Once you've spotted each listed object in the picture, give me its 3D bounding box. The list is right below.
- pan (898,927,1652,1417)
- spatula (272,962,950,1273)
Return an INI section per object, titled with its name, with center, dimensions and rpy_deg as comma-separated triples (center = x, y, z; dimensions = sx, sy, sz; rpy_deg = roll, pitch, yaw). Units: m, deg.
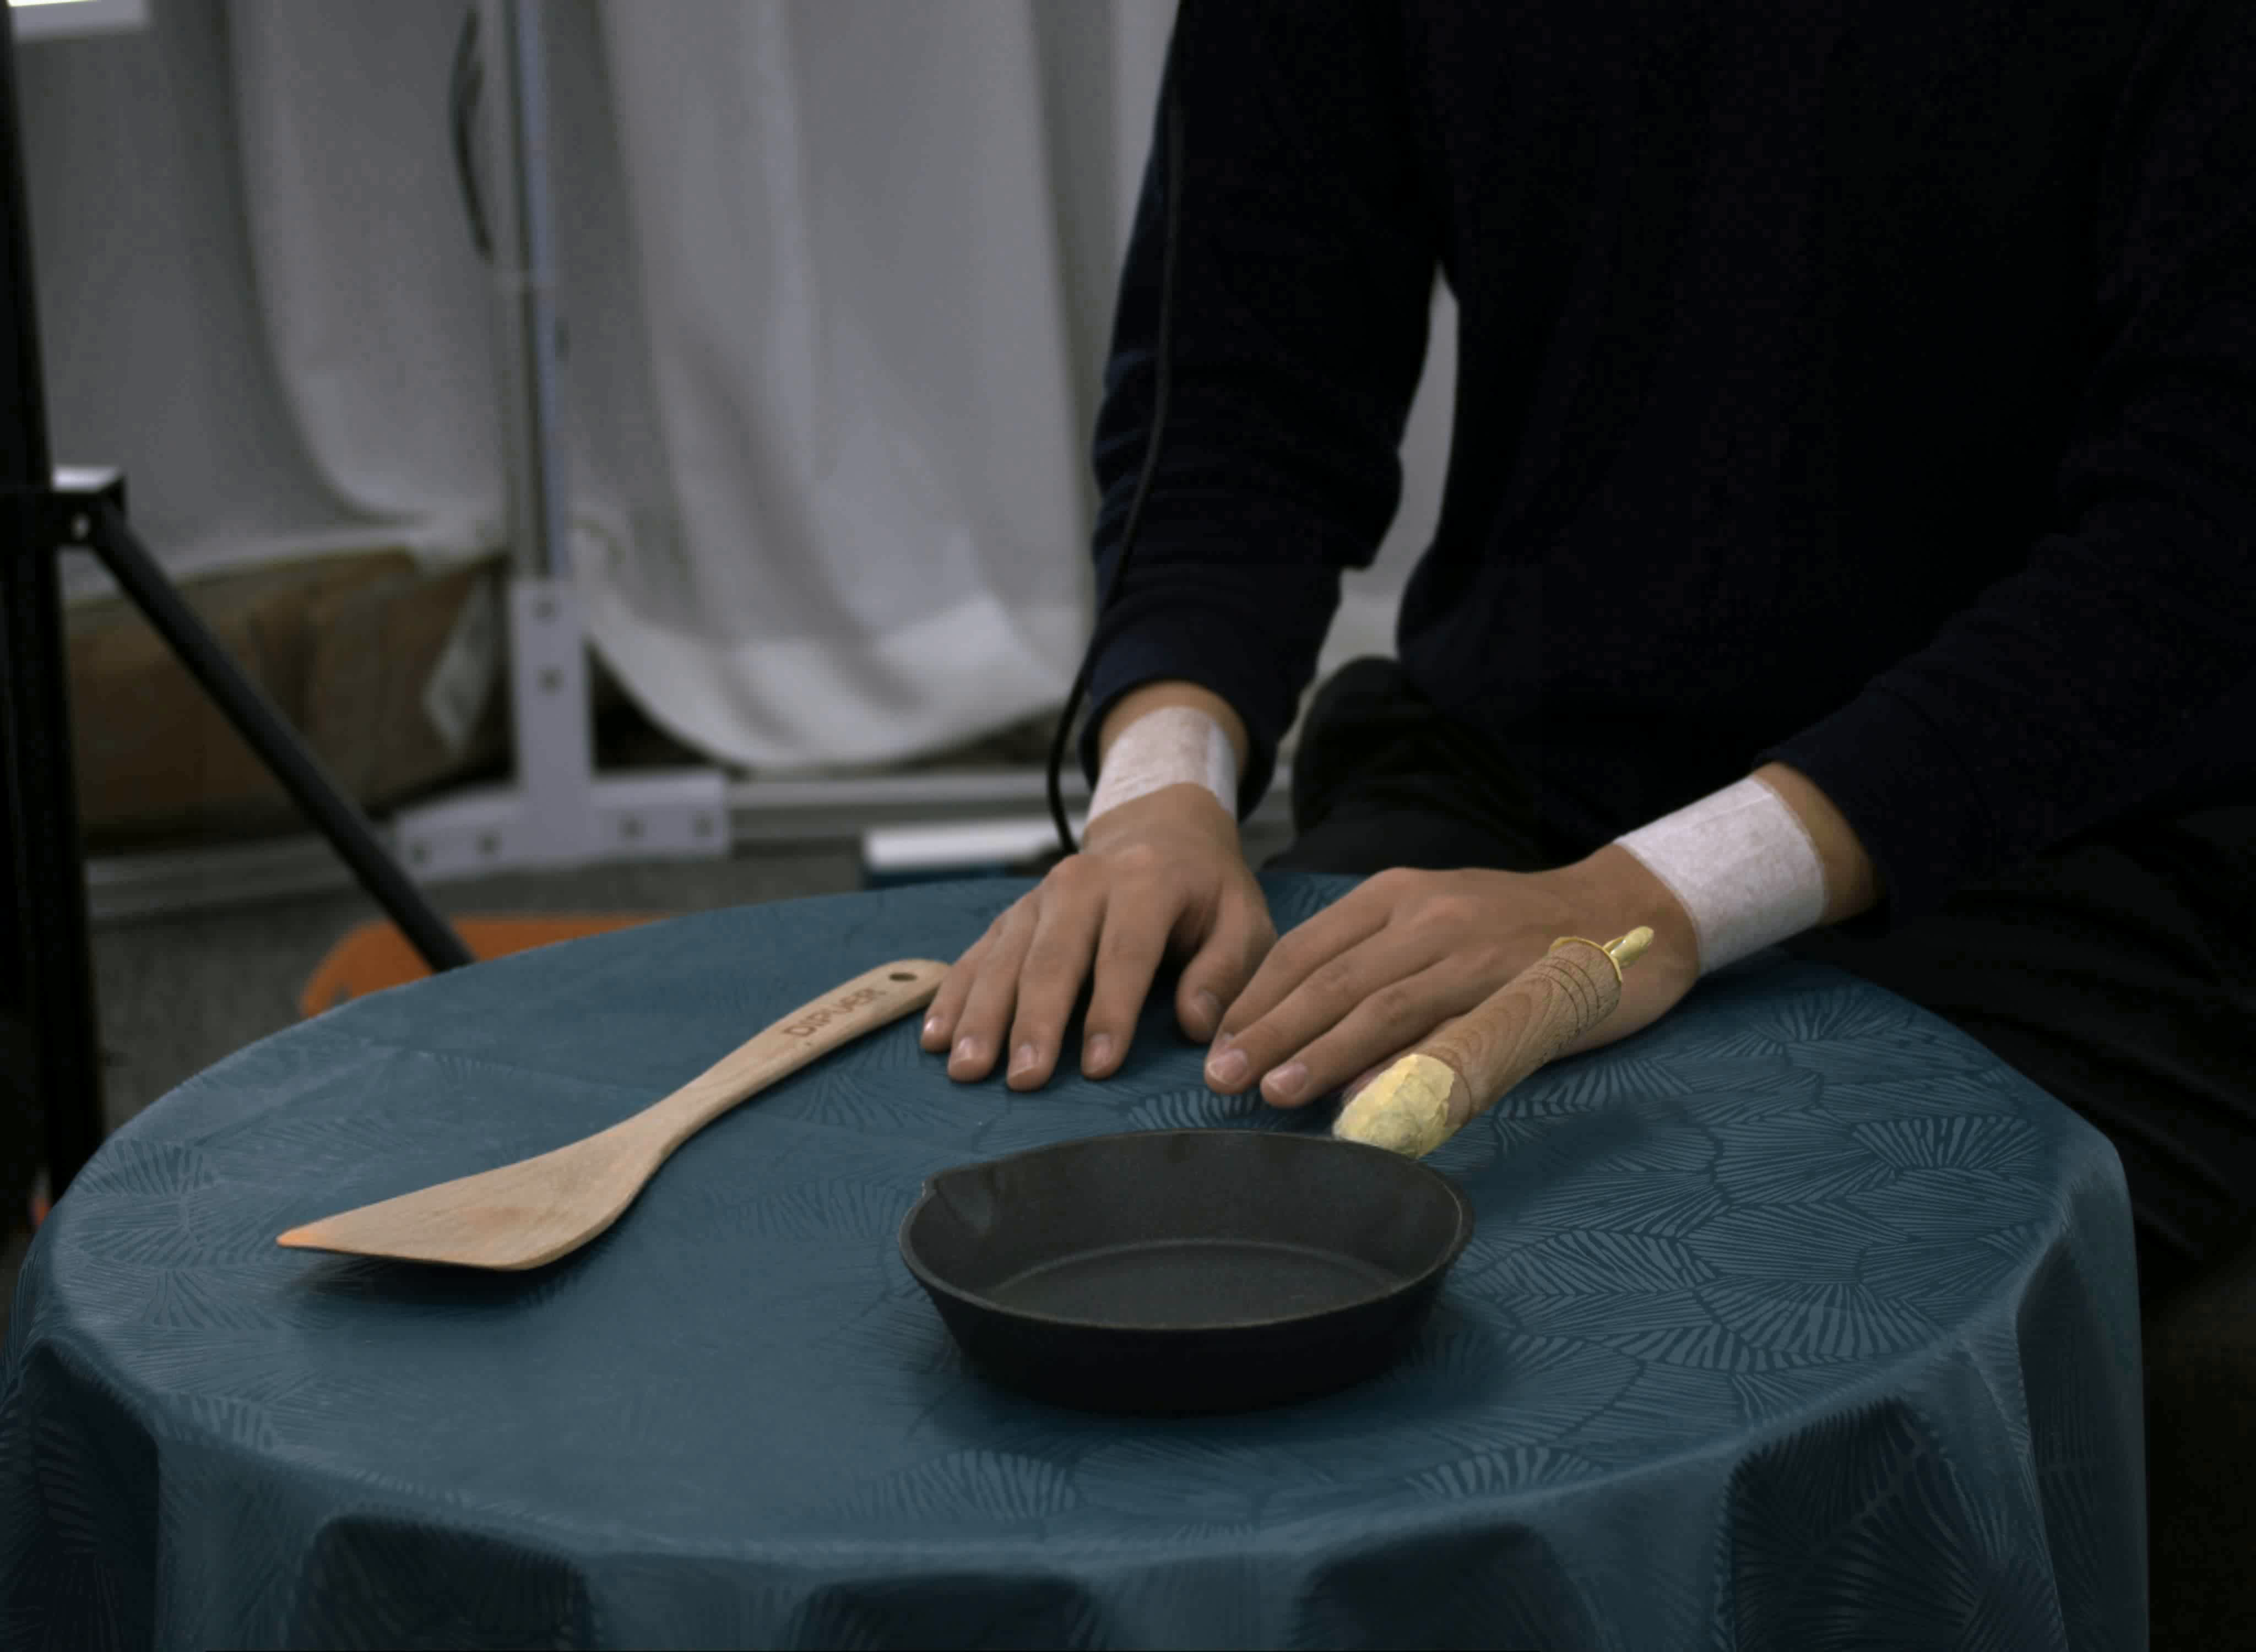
[pan]
center = 0.065, 0.094, 1.503
dimensions = 0.172, 0.049, 0.318
rpy_deg = 9, 21, 36
[spatula]
center = -0.138, 0.086, 1.630
dimensions = 0.081, 0.016, 0.322
rpy_deg = 6, 18, 27
